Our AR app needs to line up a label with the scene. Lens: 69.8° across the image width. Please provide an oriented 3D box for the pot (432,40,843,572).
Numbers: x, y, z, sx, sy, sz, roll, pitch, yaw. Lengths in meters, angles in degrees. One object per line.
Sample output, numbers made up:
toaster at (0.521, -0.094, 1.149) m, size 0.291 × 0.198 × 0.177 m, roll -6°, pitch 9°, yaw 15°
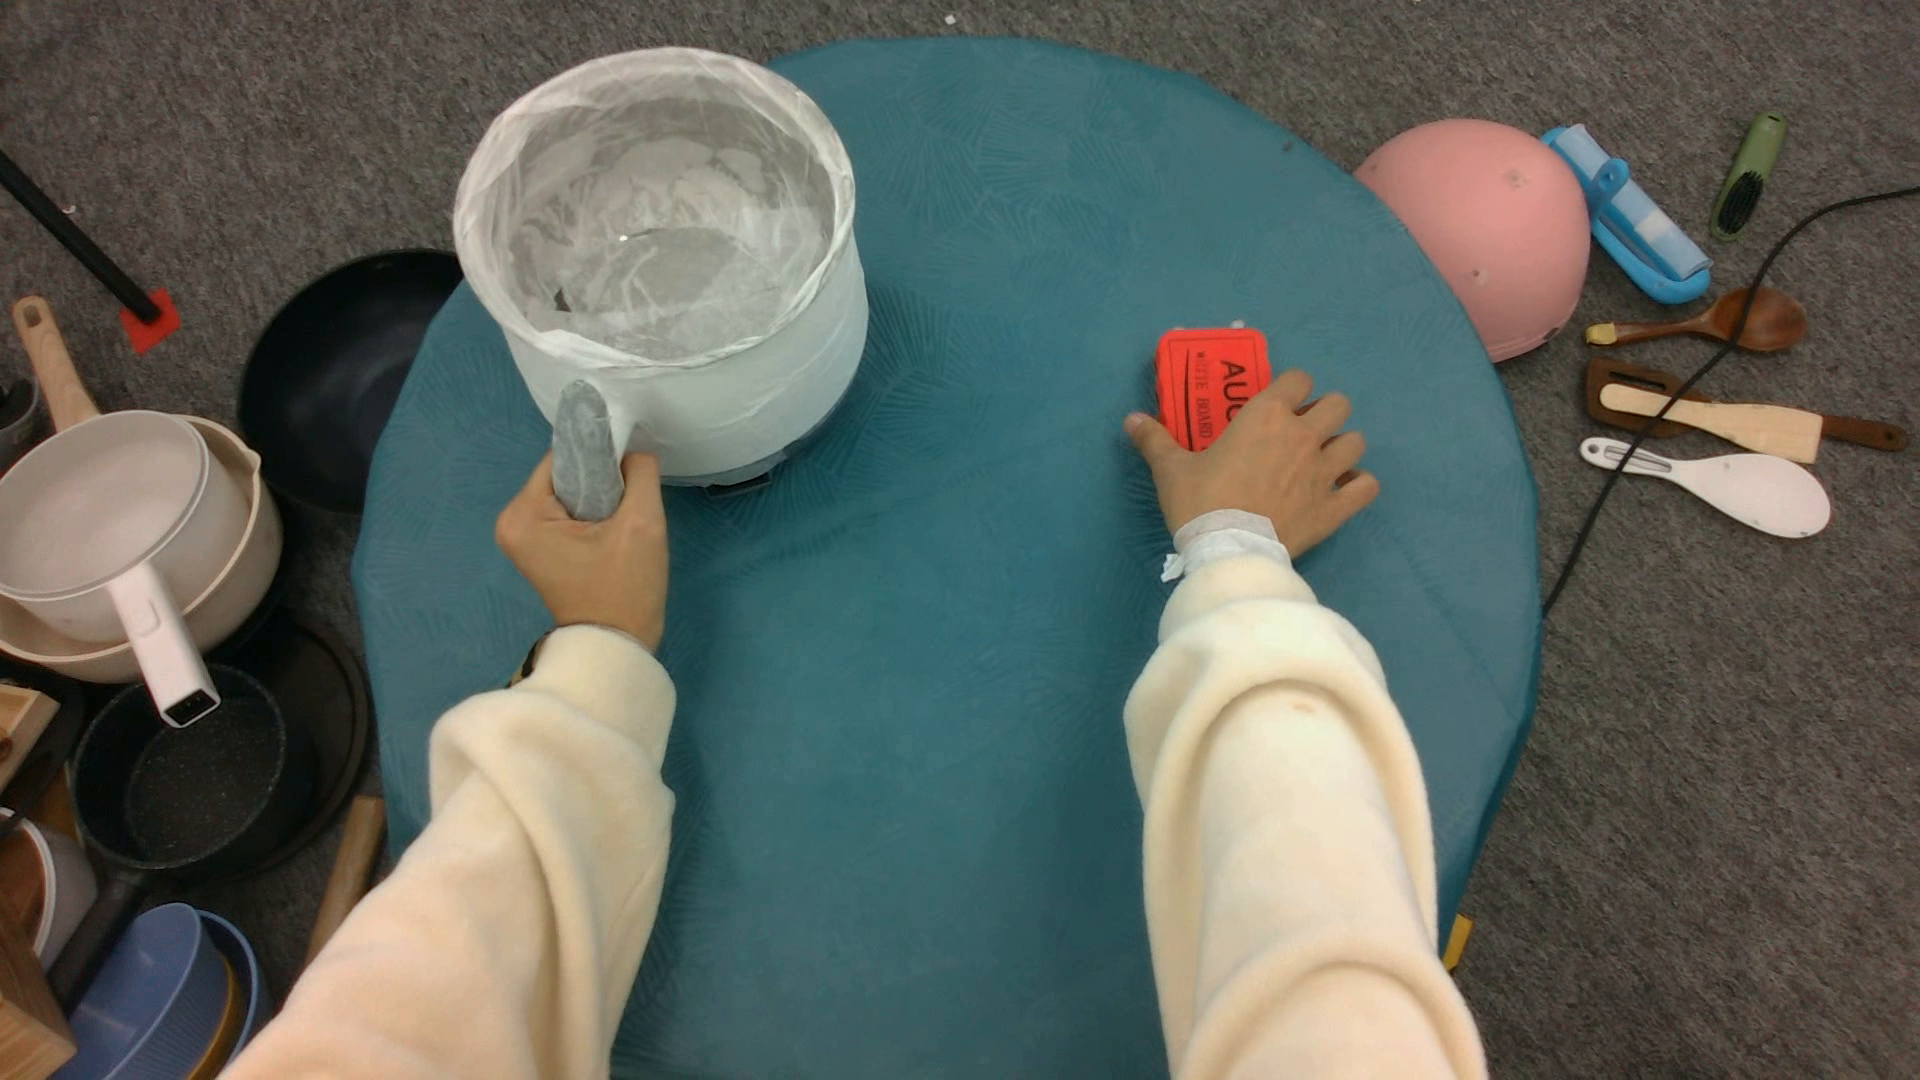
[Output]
pot at (-0.152, -0.106, 0.661) m, size 0.178 × 0.136 × 0.234 m, roll 11°, pitch 65°, yaw 3°

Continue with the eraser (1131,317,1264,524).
eraser at (0.121, -0.063, 0.711) m, size 0.059 × 0.023 × 0.108 m, roll -1°, pitch 71°, yaw -4°
